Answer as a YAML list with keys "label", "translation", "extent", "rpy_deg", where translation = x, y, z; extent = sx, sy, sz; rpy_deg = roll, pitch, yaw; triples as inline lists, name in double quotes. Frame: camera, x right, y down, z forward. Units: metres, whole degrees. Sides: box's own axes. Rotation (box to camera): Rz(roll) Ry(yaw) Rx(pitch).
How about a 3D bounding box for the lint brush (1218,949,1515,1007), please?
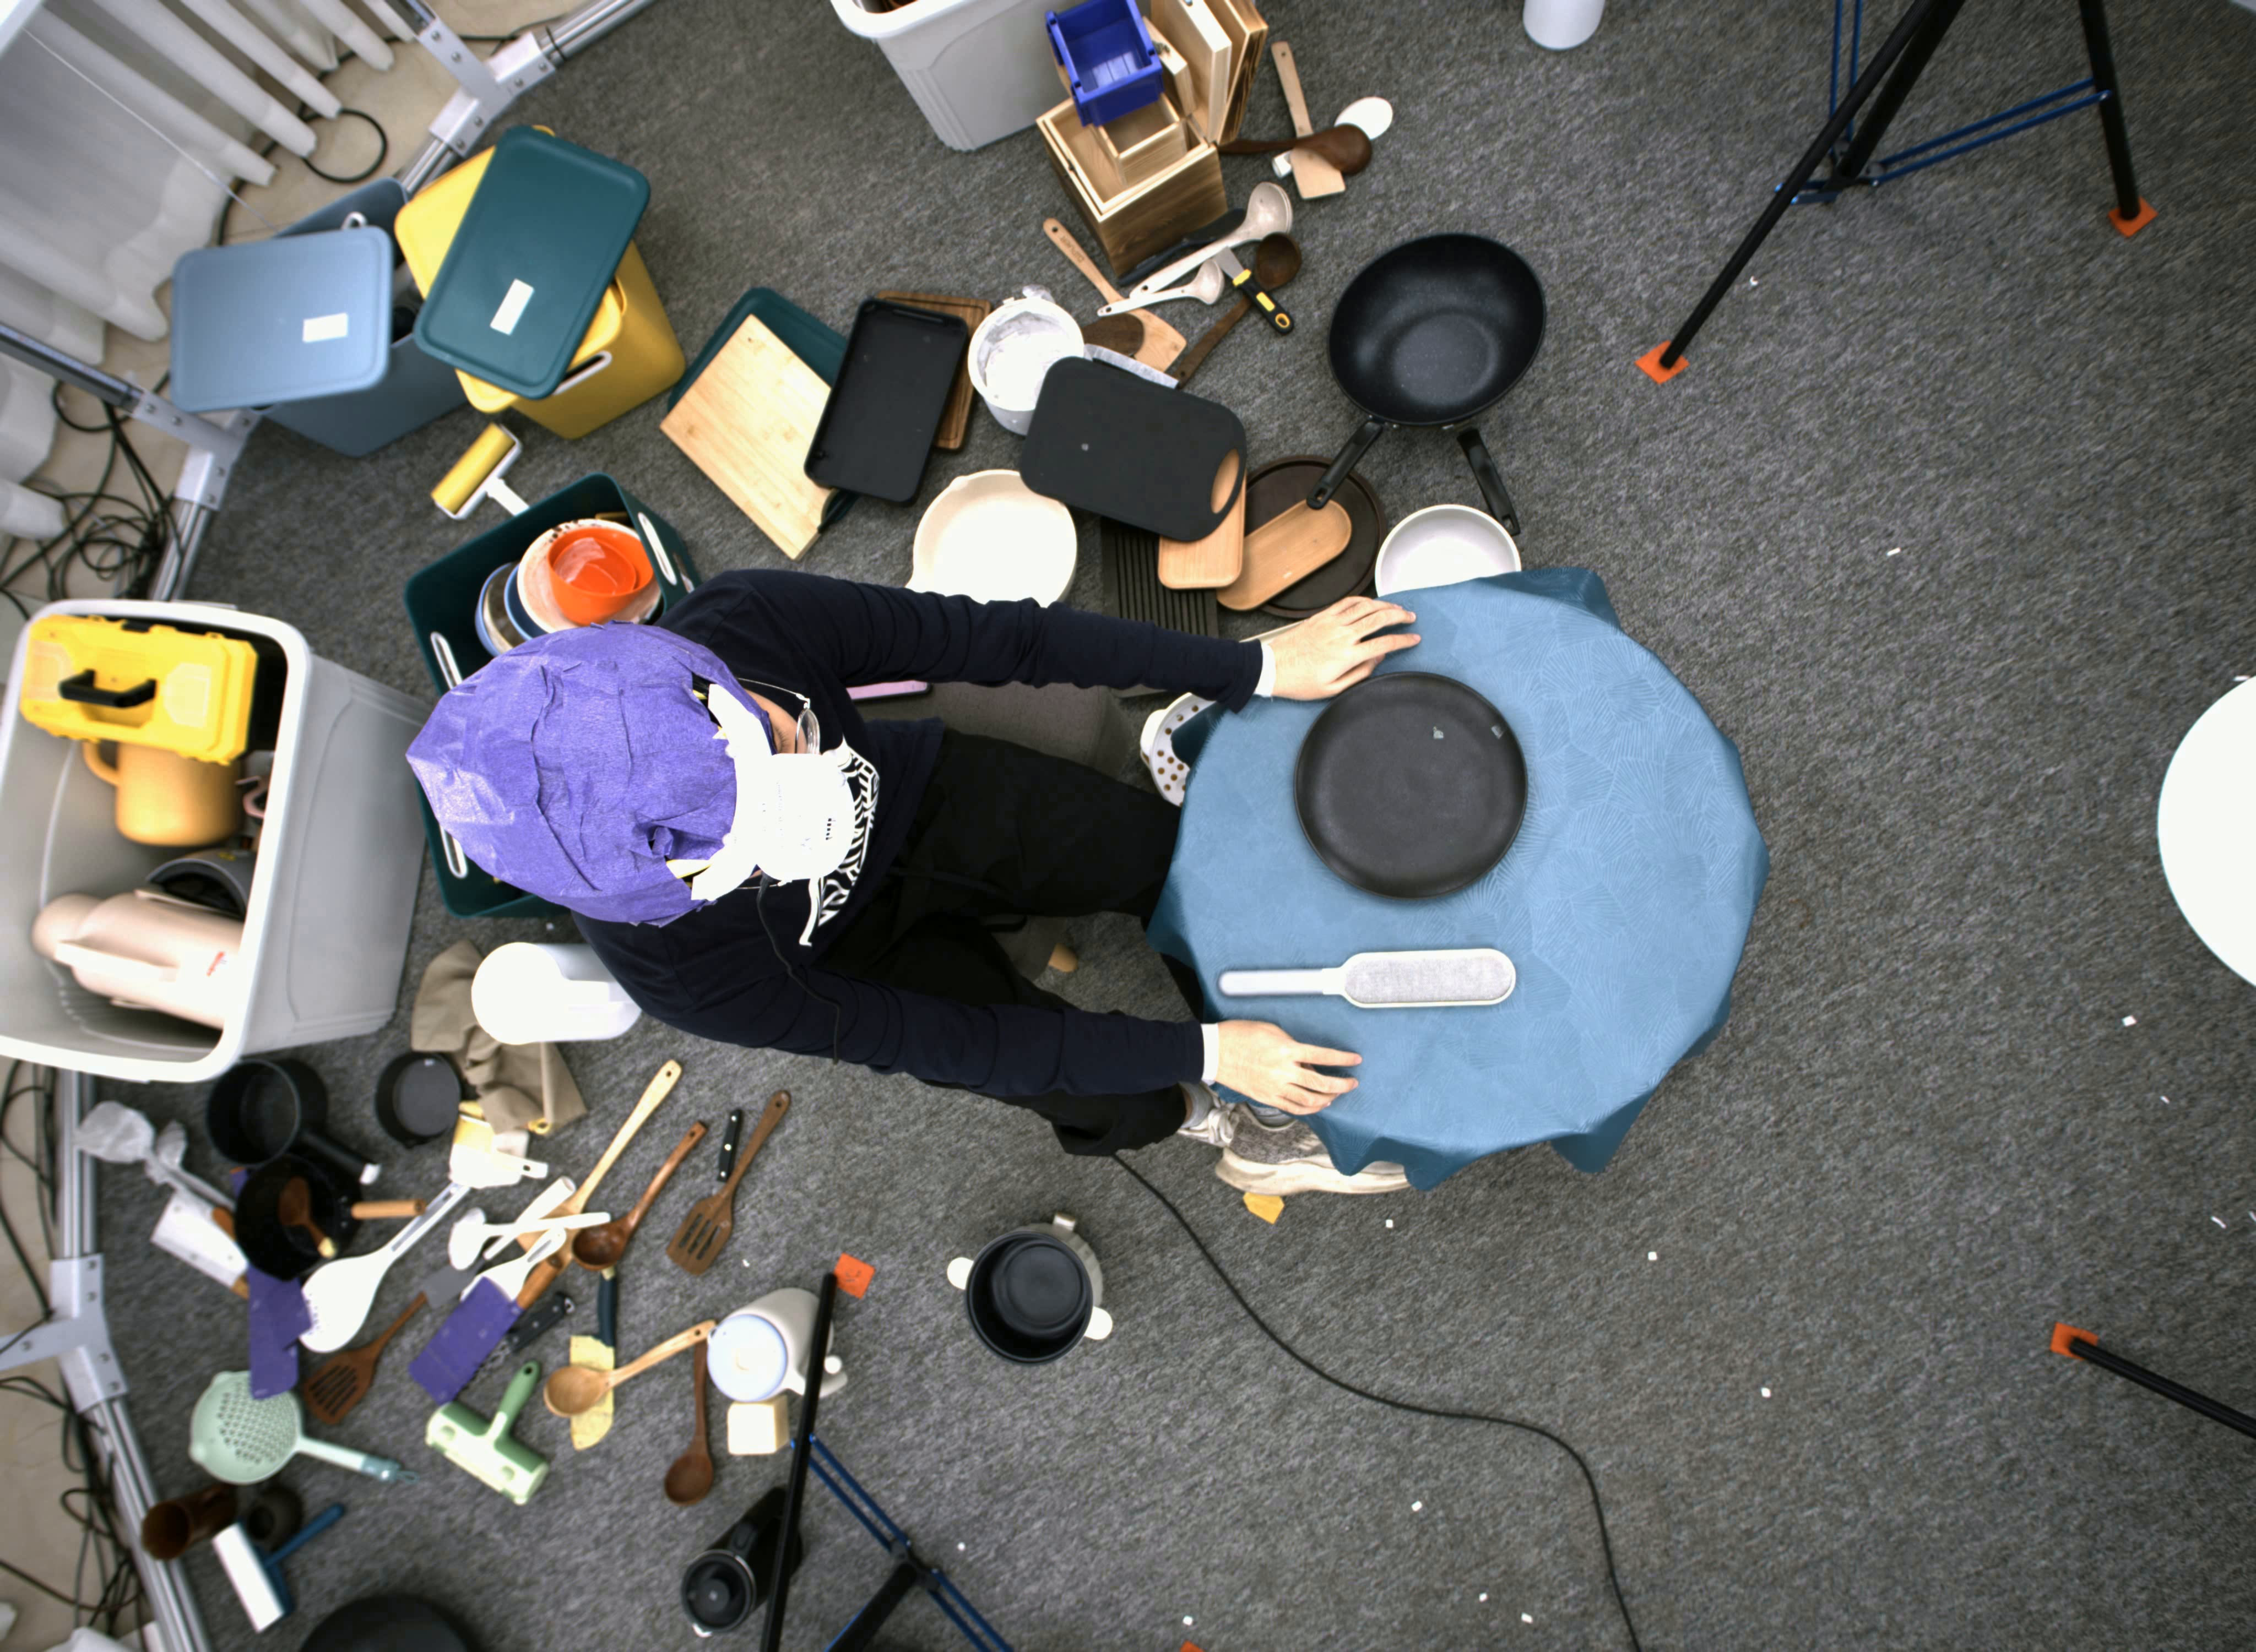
- label: "lint brush"
  translation: [0.248, 0.158, 1.446]
  extent: [0.310, 0.021, 0.060]
  rpy_deg: [-2, 91, 11]

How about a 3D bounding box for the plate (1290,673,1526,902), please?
- label: "plate"
  translation: [0.294, -0.042, 1.450]
  extent: [0.245, 0.023, 0.243]
  rpy_deg: [-1, 87, 11]
